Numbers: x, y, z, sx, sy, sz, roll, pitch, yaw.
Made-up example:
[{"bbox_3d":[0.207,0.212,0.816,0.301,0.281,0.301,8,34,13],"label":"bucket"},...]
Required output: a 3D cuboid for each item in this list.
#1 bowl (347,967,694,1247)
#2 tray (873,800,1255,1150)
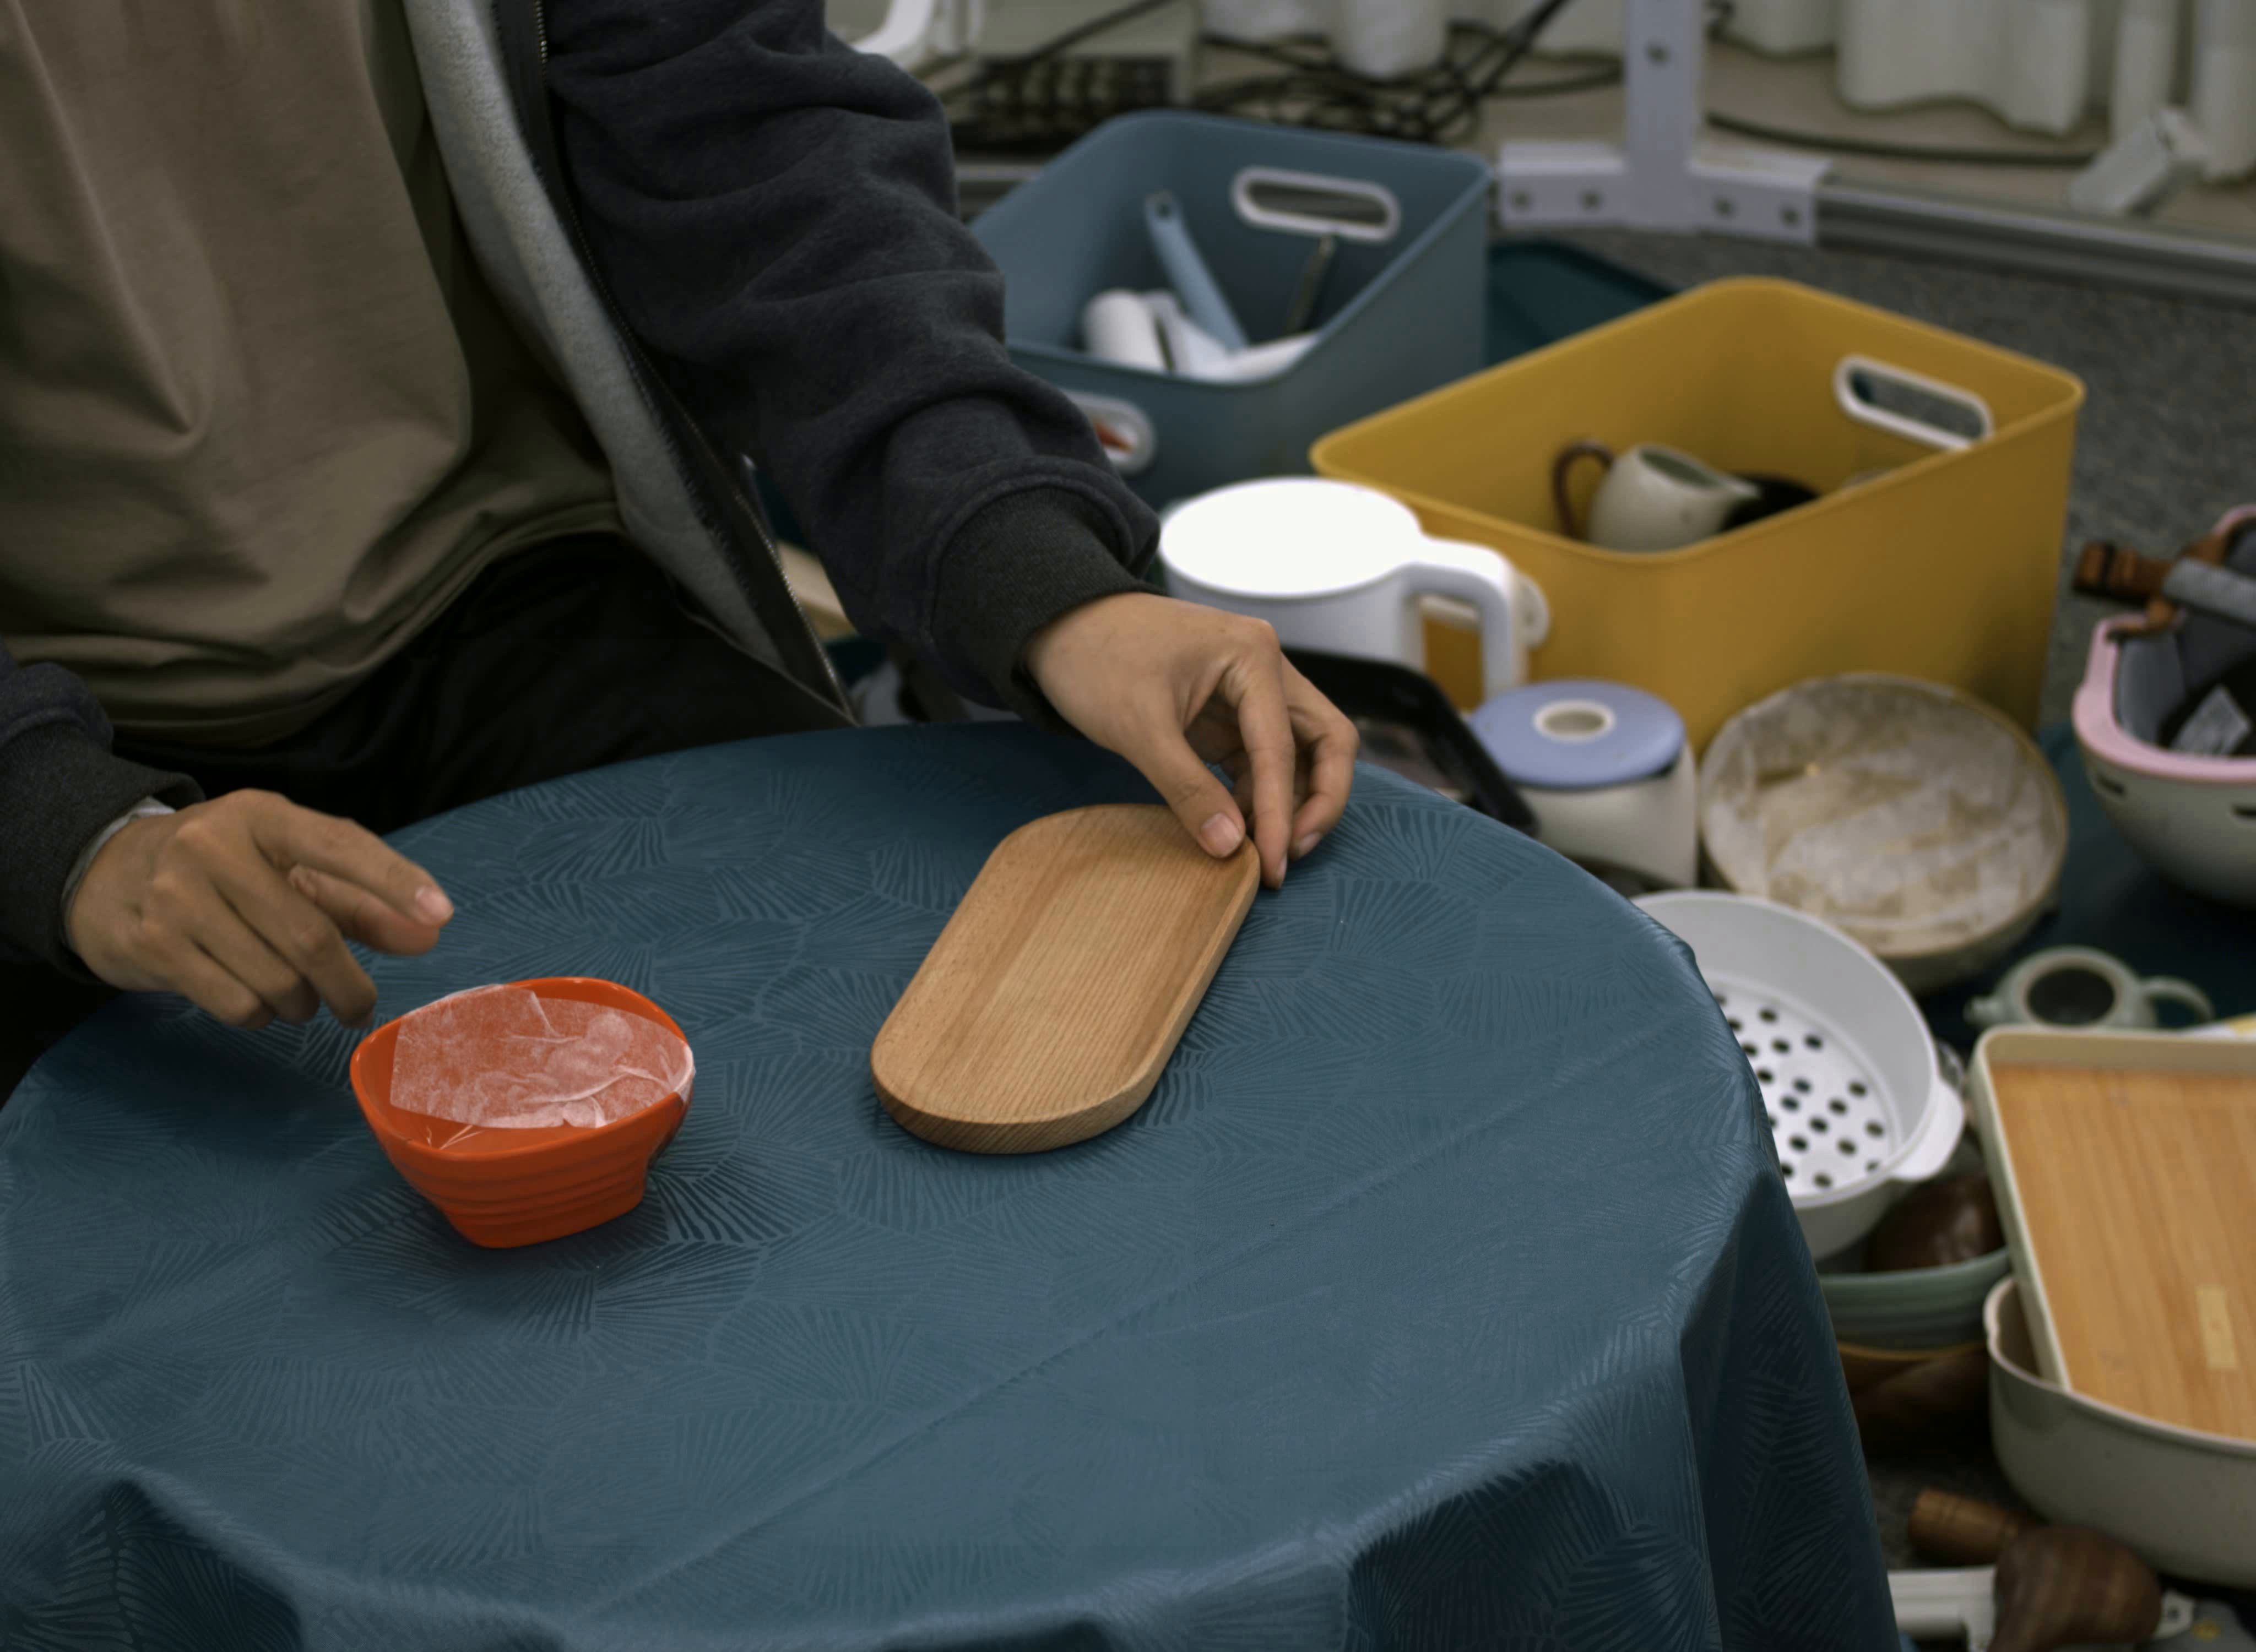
[{"bbox_3d":[-0.200,0.098,1.868,0.118,0.051,0.121,-2,29,2],"label":"bowl"},{"bbox_3d":[-0.021,0.050,1.984,0.101,0.020,0.235,5,28,13],"label":"tray"}]
